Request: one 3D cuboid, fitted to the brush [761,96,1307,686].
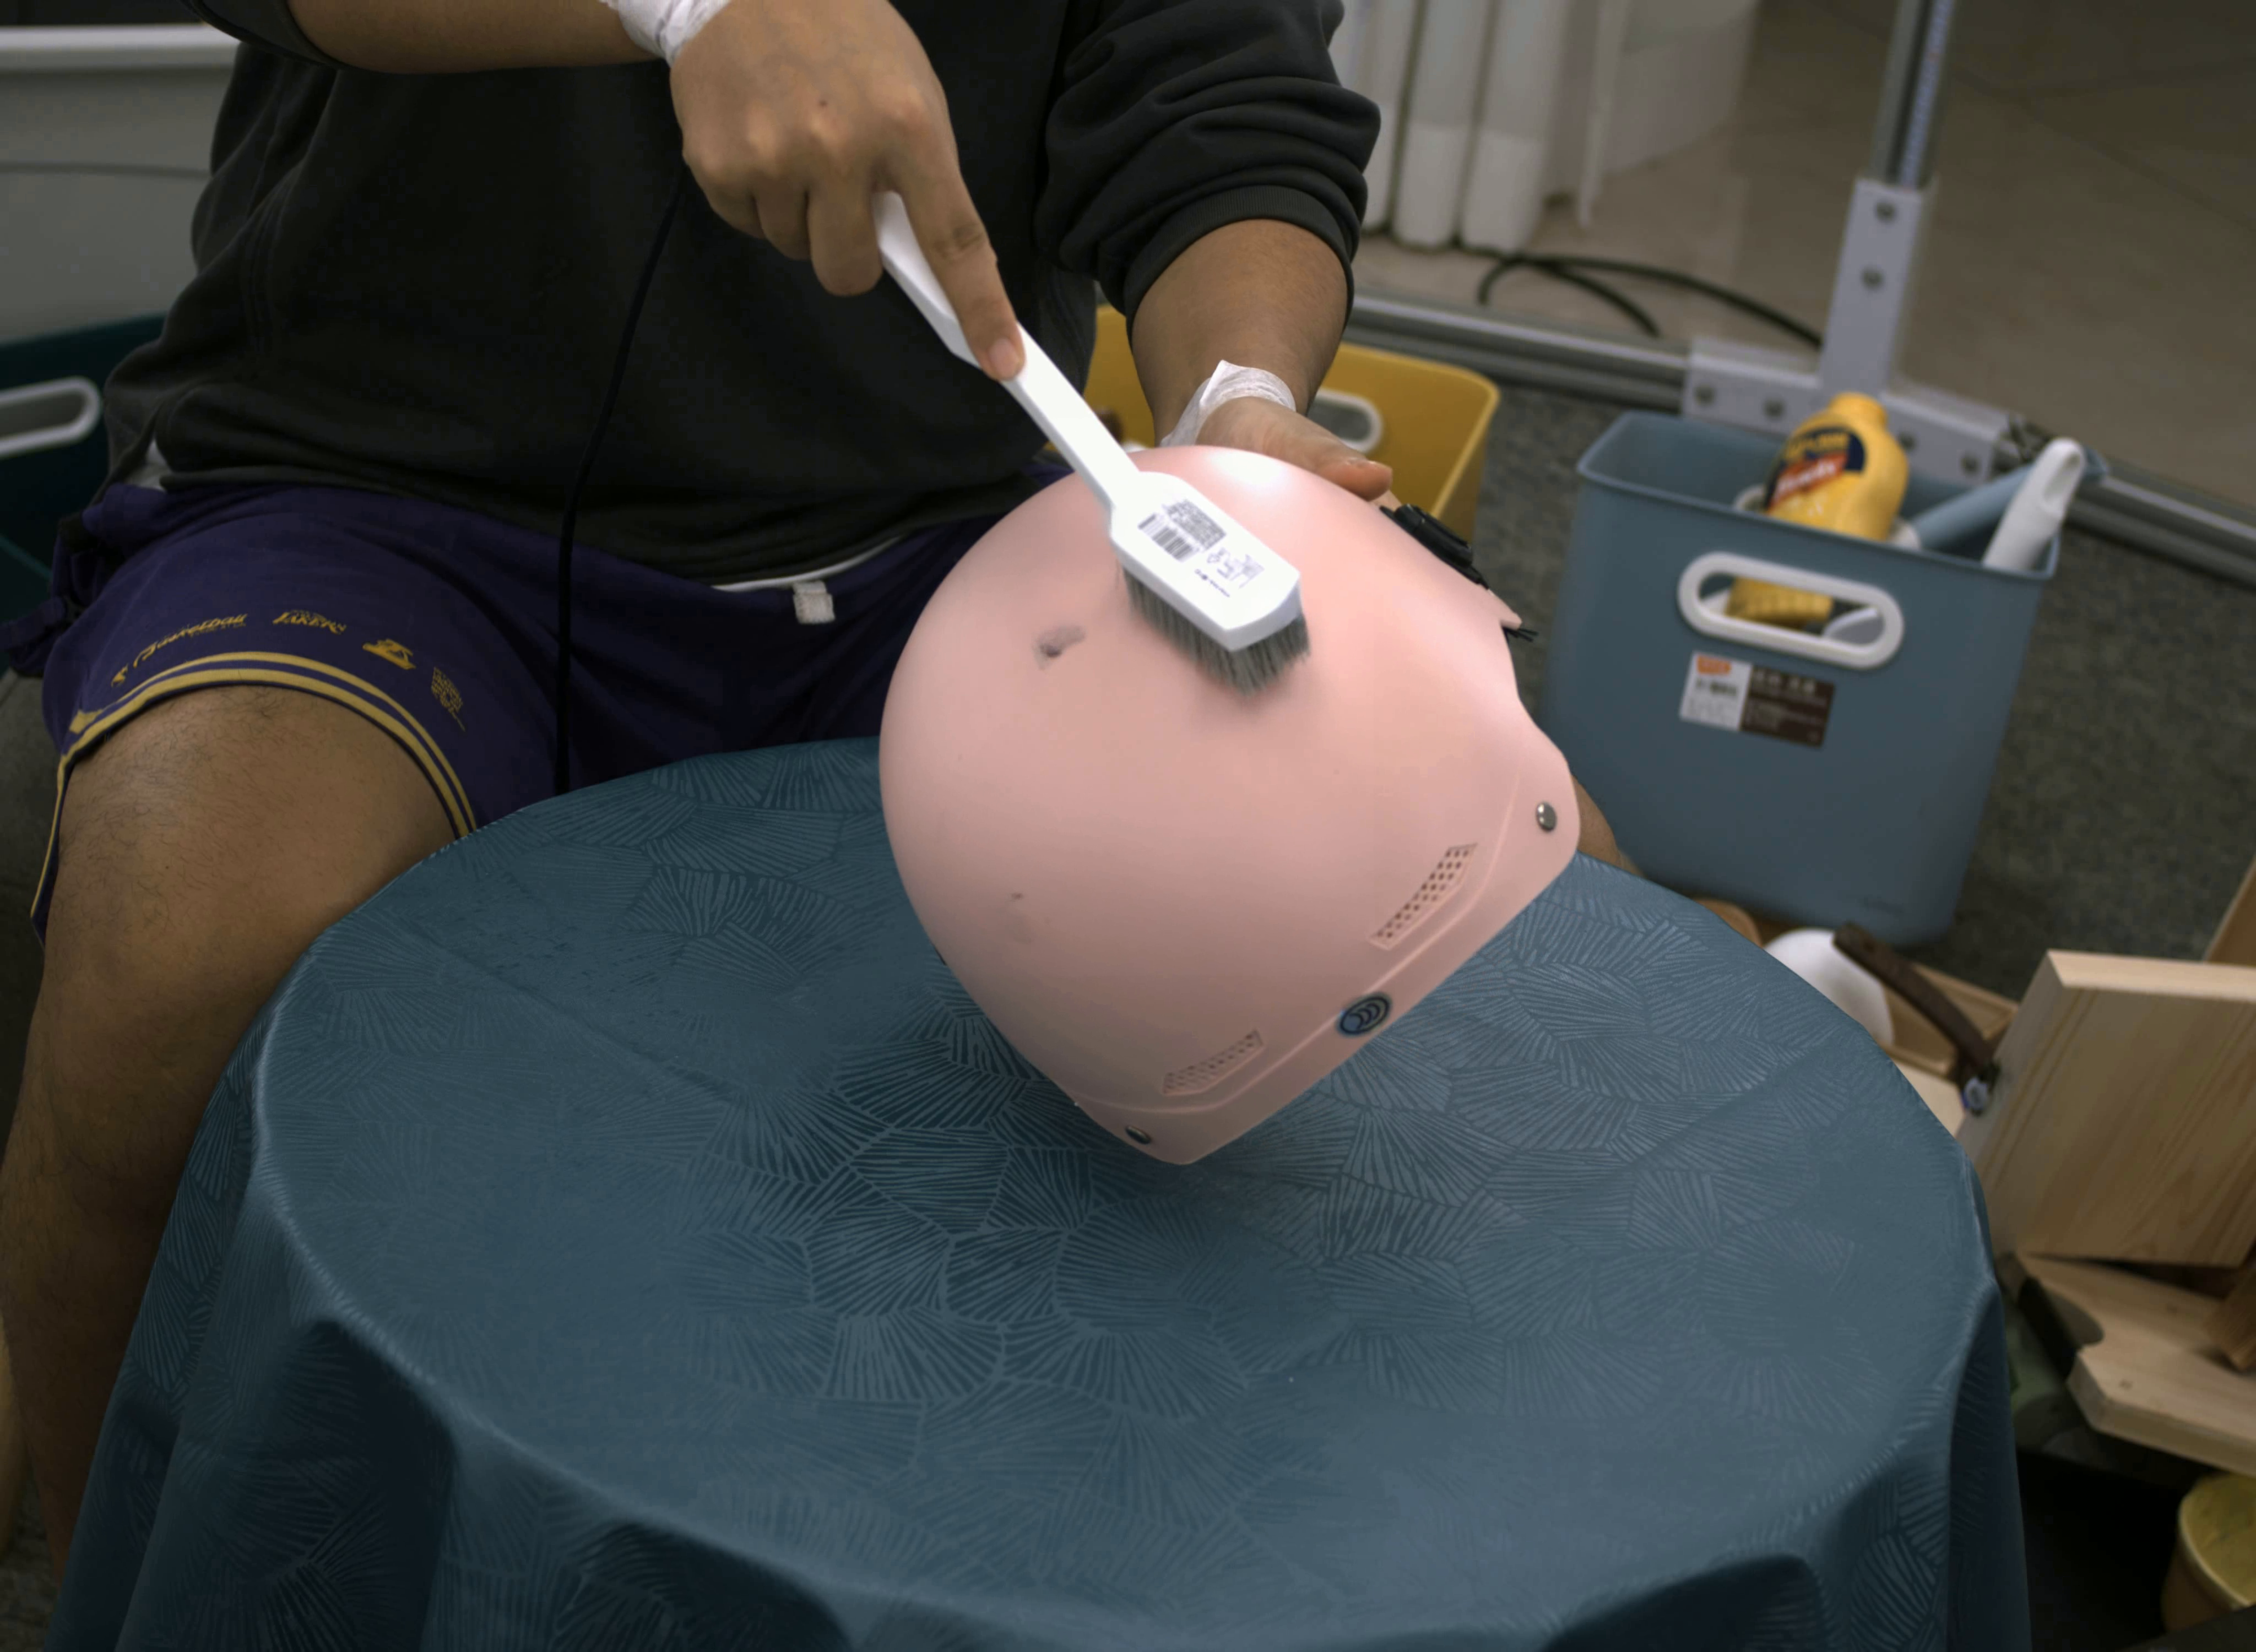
[{"bbox_3d":[-0.033,-0.139,1.700,0.034,0.050,0.244,-39,75,-22],"label":"brush"}]

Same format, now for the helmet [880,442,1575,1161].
[{"bbox_3d":[0.009,-0.035,1.788,0.157,0.234,0.268,41,13,-38],"label":"helmet"}]
